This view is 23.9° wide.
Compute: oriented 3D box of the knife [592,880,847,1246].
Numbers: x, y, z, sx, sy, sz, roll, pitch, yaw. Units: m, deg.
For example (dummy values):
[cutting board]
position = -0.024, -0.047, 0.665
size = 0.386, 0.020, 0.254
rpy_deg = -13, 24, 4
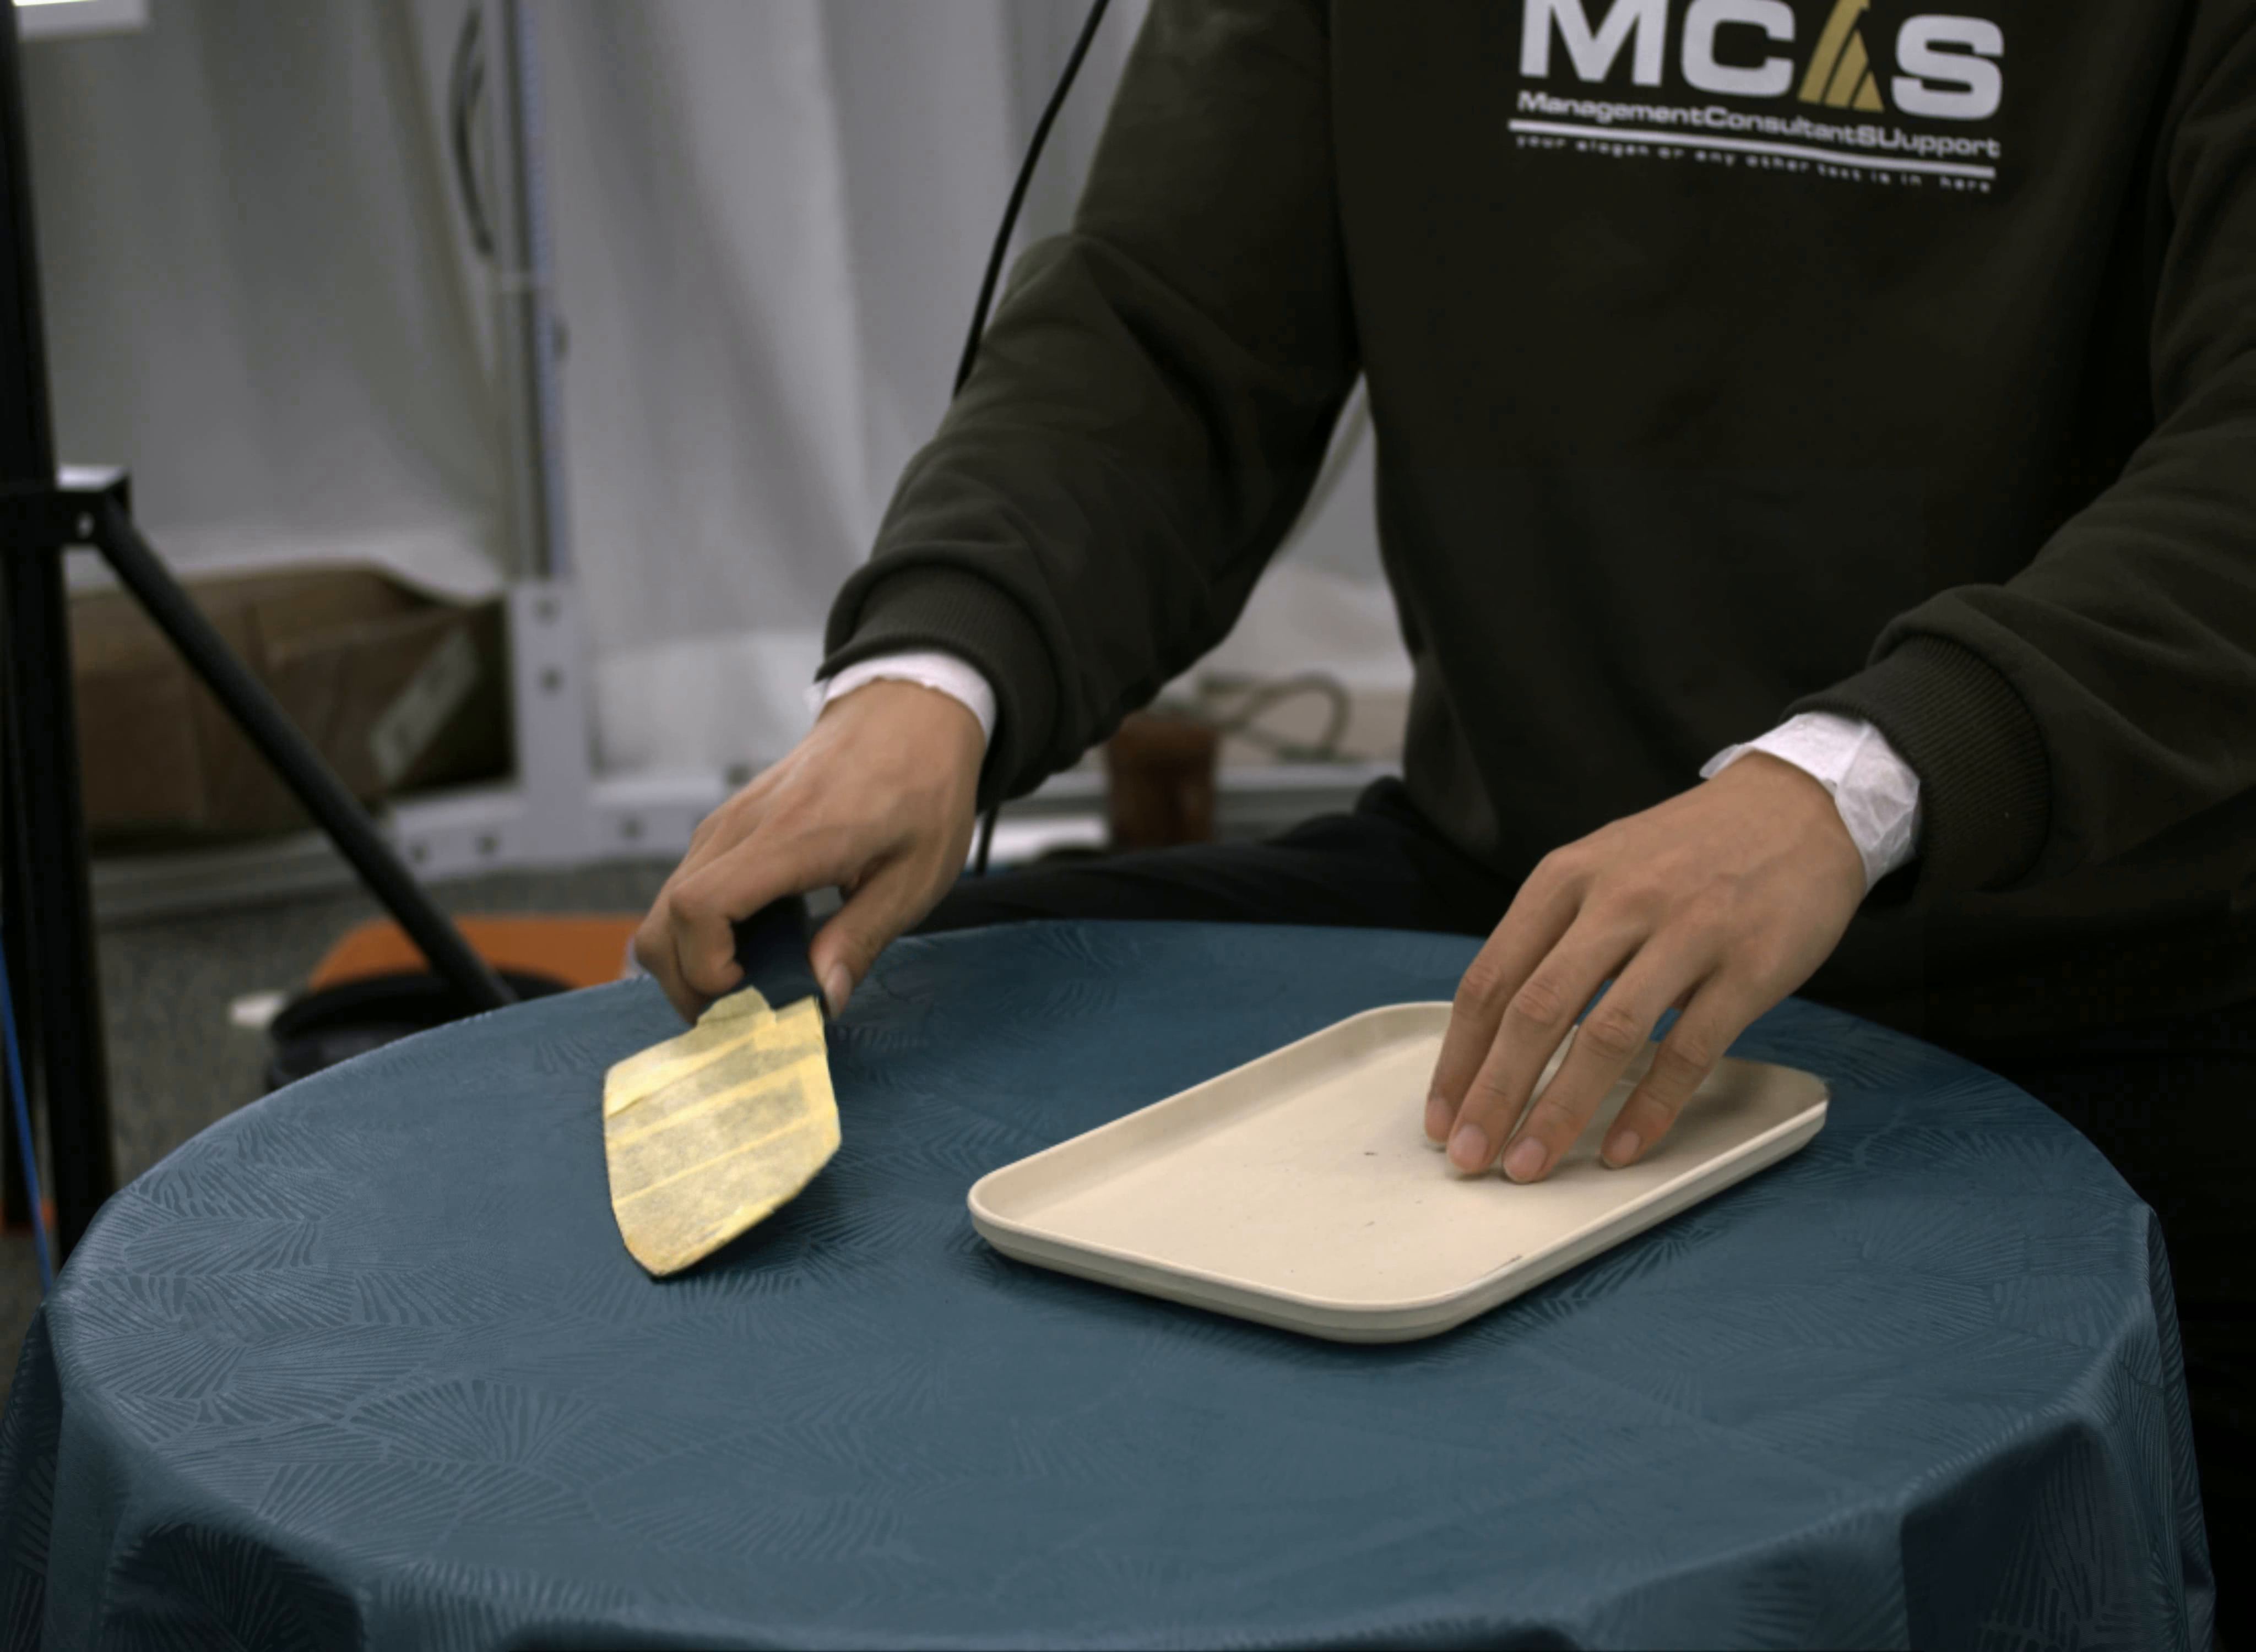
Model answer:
[knife]
position = -0.127, 0.073, 1.645
size = 0.081, 0.027, 0.291
rpy_deg = -17, 19, 1

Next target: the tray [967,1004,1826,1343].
[tray]
position = 0.081, 0.100, 1.546
size = 0.175, 0.017, 0.234
rpy_deg = 10, 20, 39
